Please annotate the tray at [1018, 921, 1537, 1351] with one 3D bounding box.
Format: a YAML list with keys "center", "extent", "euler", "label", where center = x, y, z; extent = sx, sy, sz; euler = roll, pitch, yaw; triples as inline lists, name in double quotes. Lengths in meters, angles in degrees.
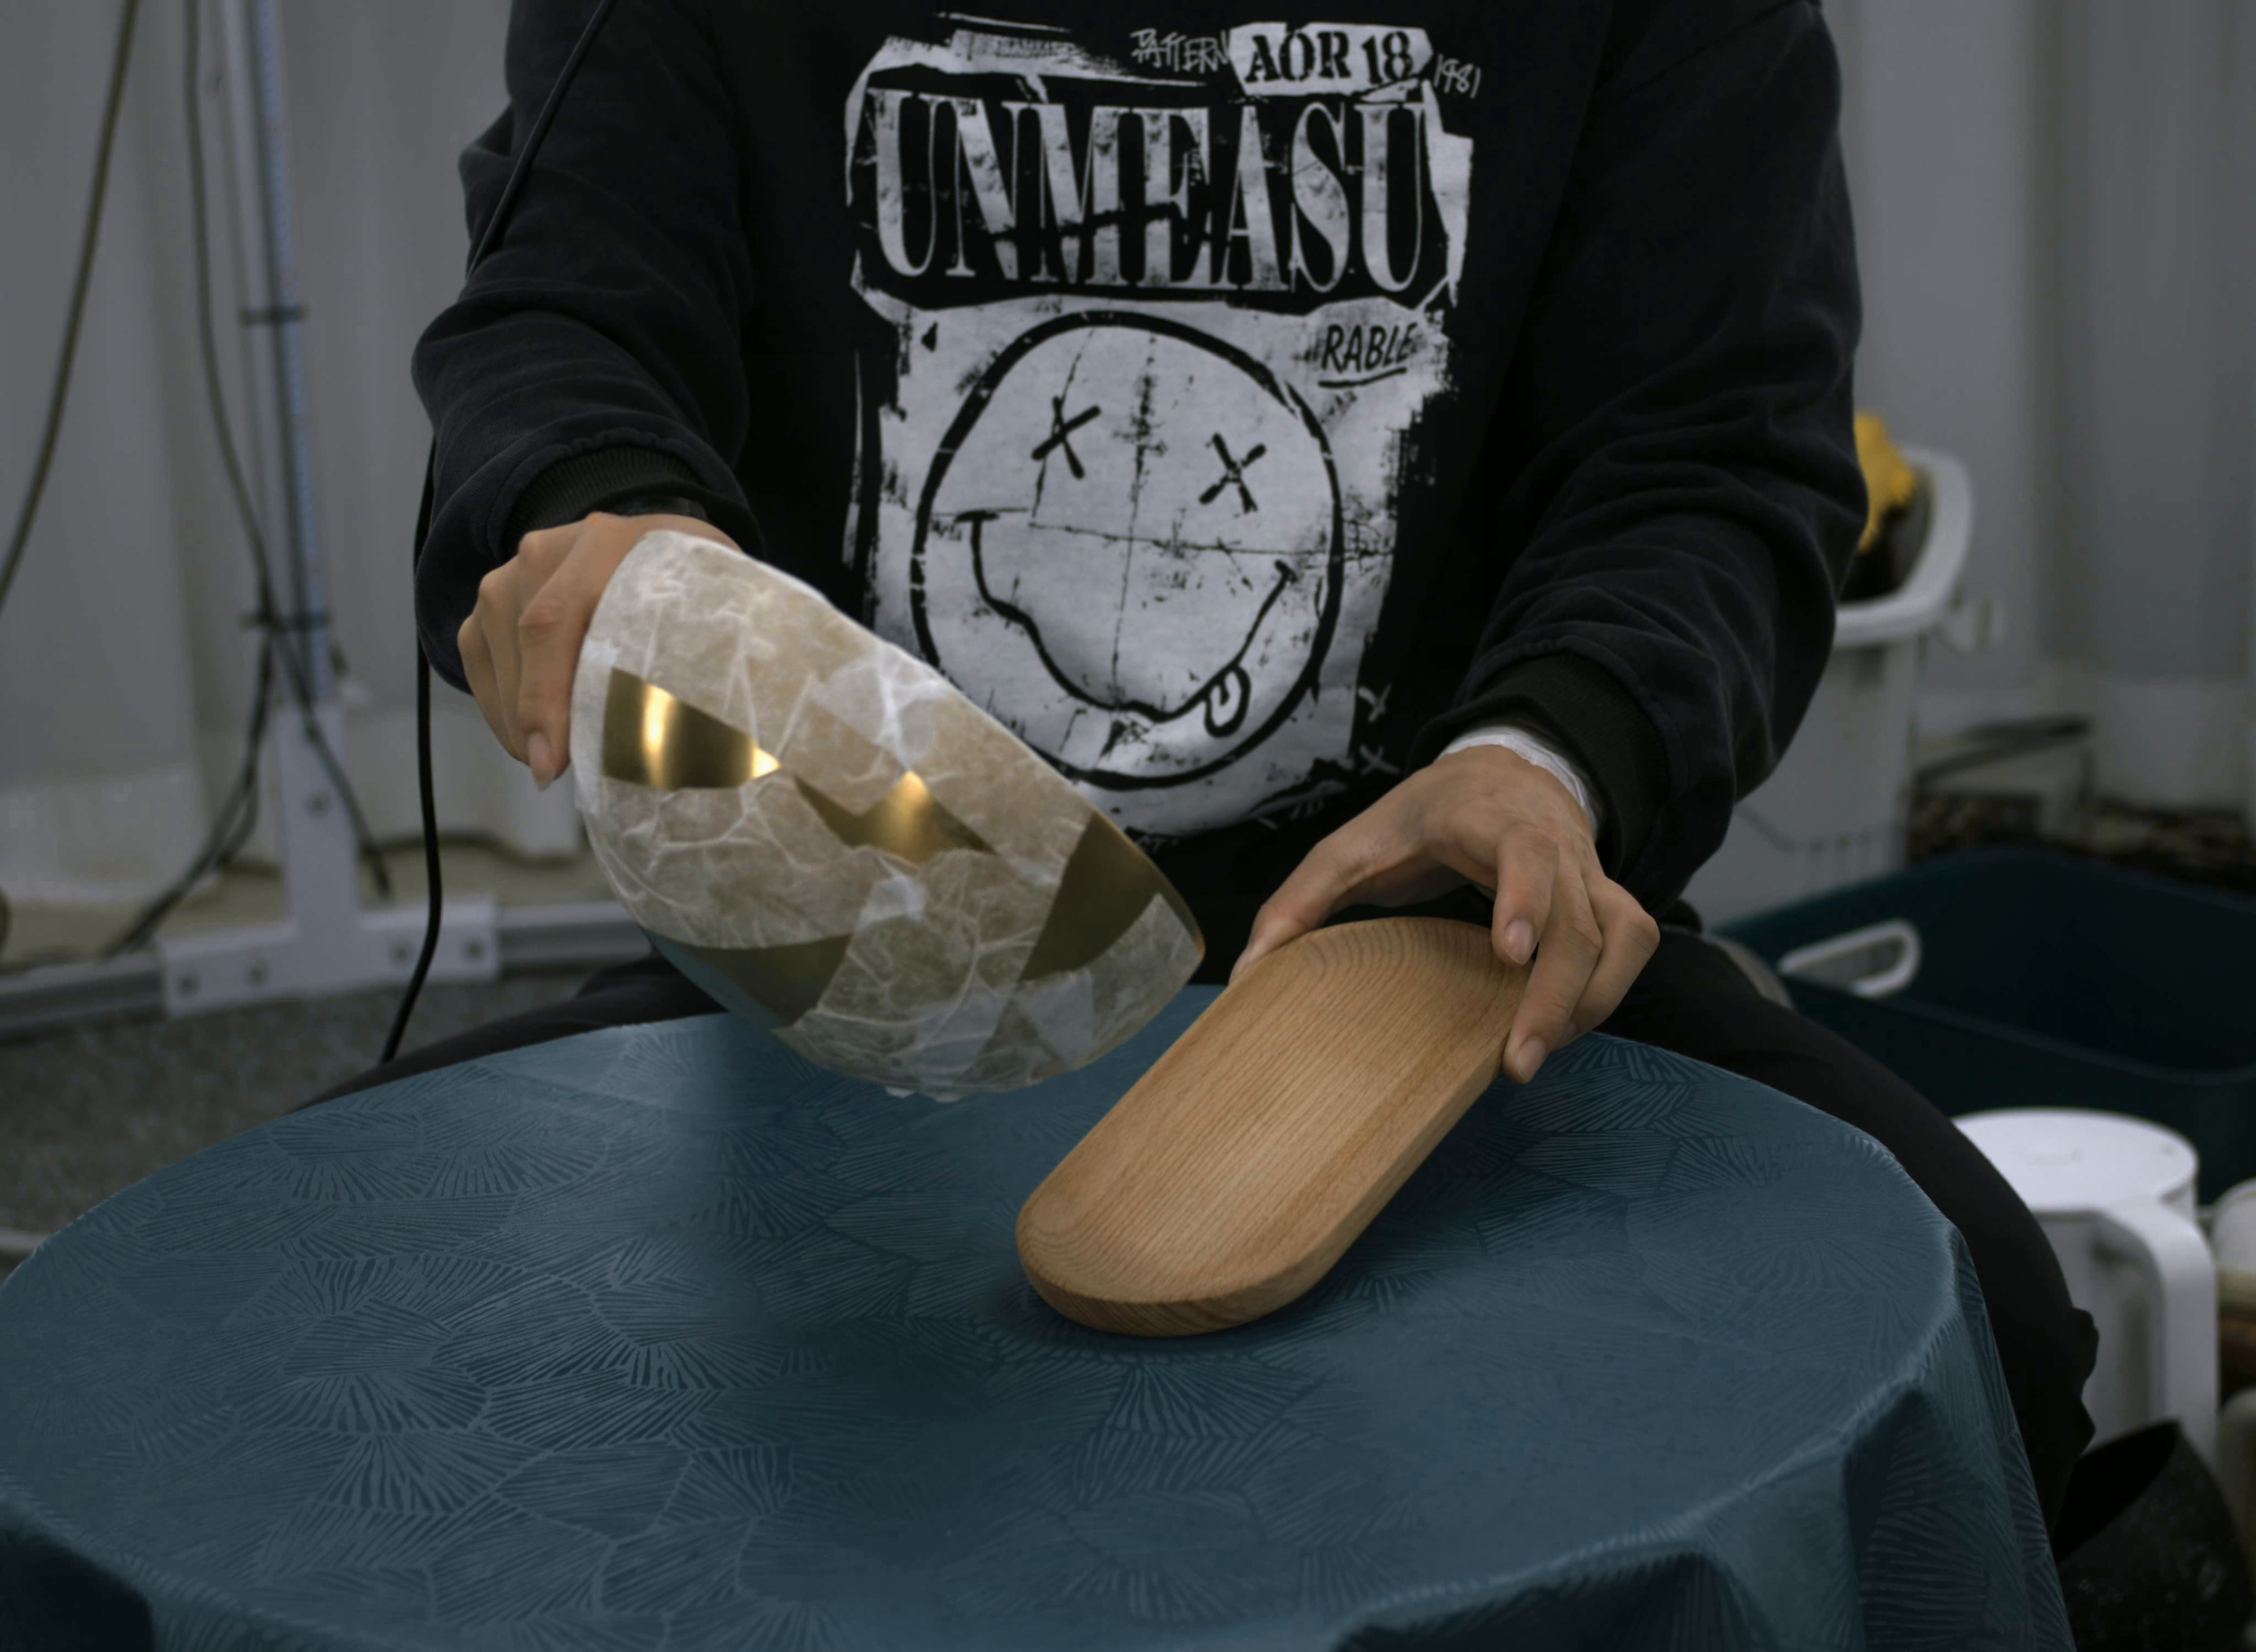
- center: [0.048, 0.092, 1.668]
  extent: [0.102, 0.020, 0.233]
  euler: [5, 32, 29]
  label: "tray"

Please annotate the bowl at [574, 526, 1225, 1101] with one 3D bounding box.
- center: [-0.080, 0.016, 1.547]
  extent: [0.095, 0.212, 0.216]
  euler: [-53, 34, -12]
  label: "bowl"
